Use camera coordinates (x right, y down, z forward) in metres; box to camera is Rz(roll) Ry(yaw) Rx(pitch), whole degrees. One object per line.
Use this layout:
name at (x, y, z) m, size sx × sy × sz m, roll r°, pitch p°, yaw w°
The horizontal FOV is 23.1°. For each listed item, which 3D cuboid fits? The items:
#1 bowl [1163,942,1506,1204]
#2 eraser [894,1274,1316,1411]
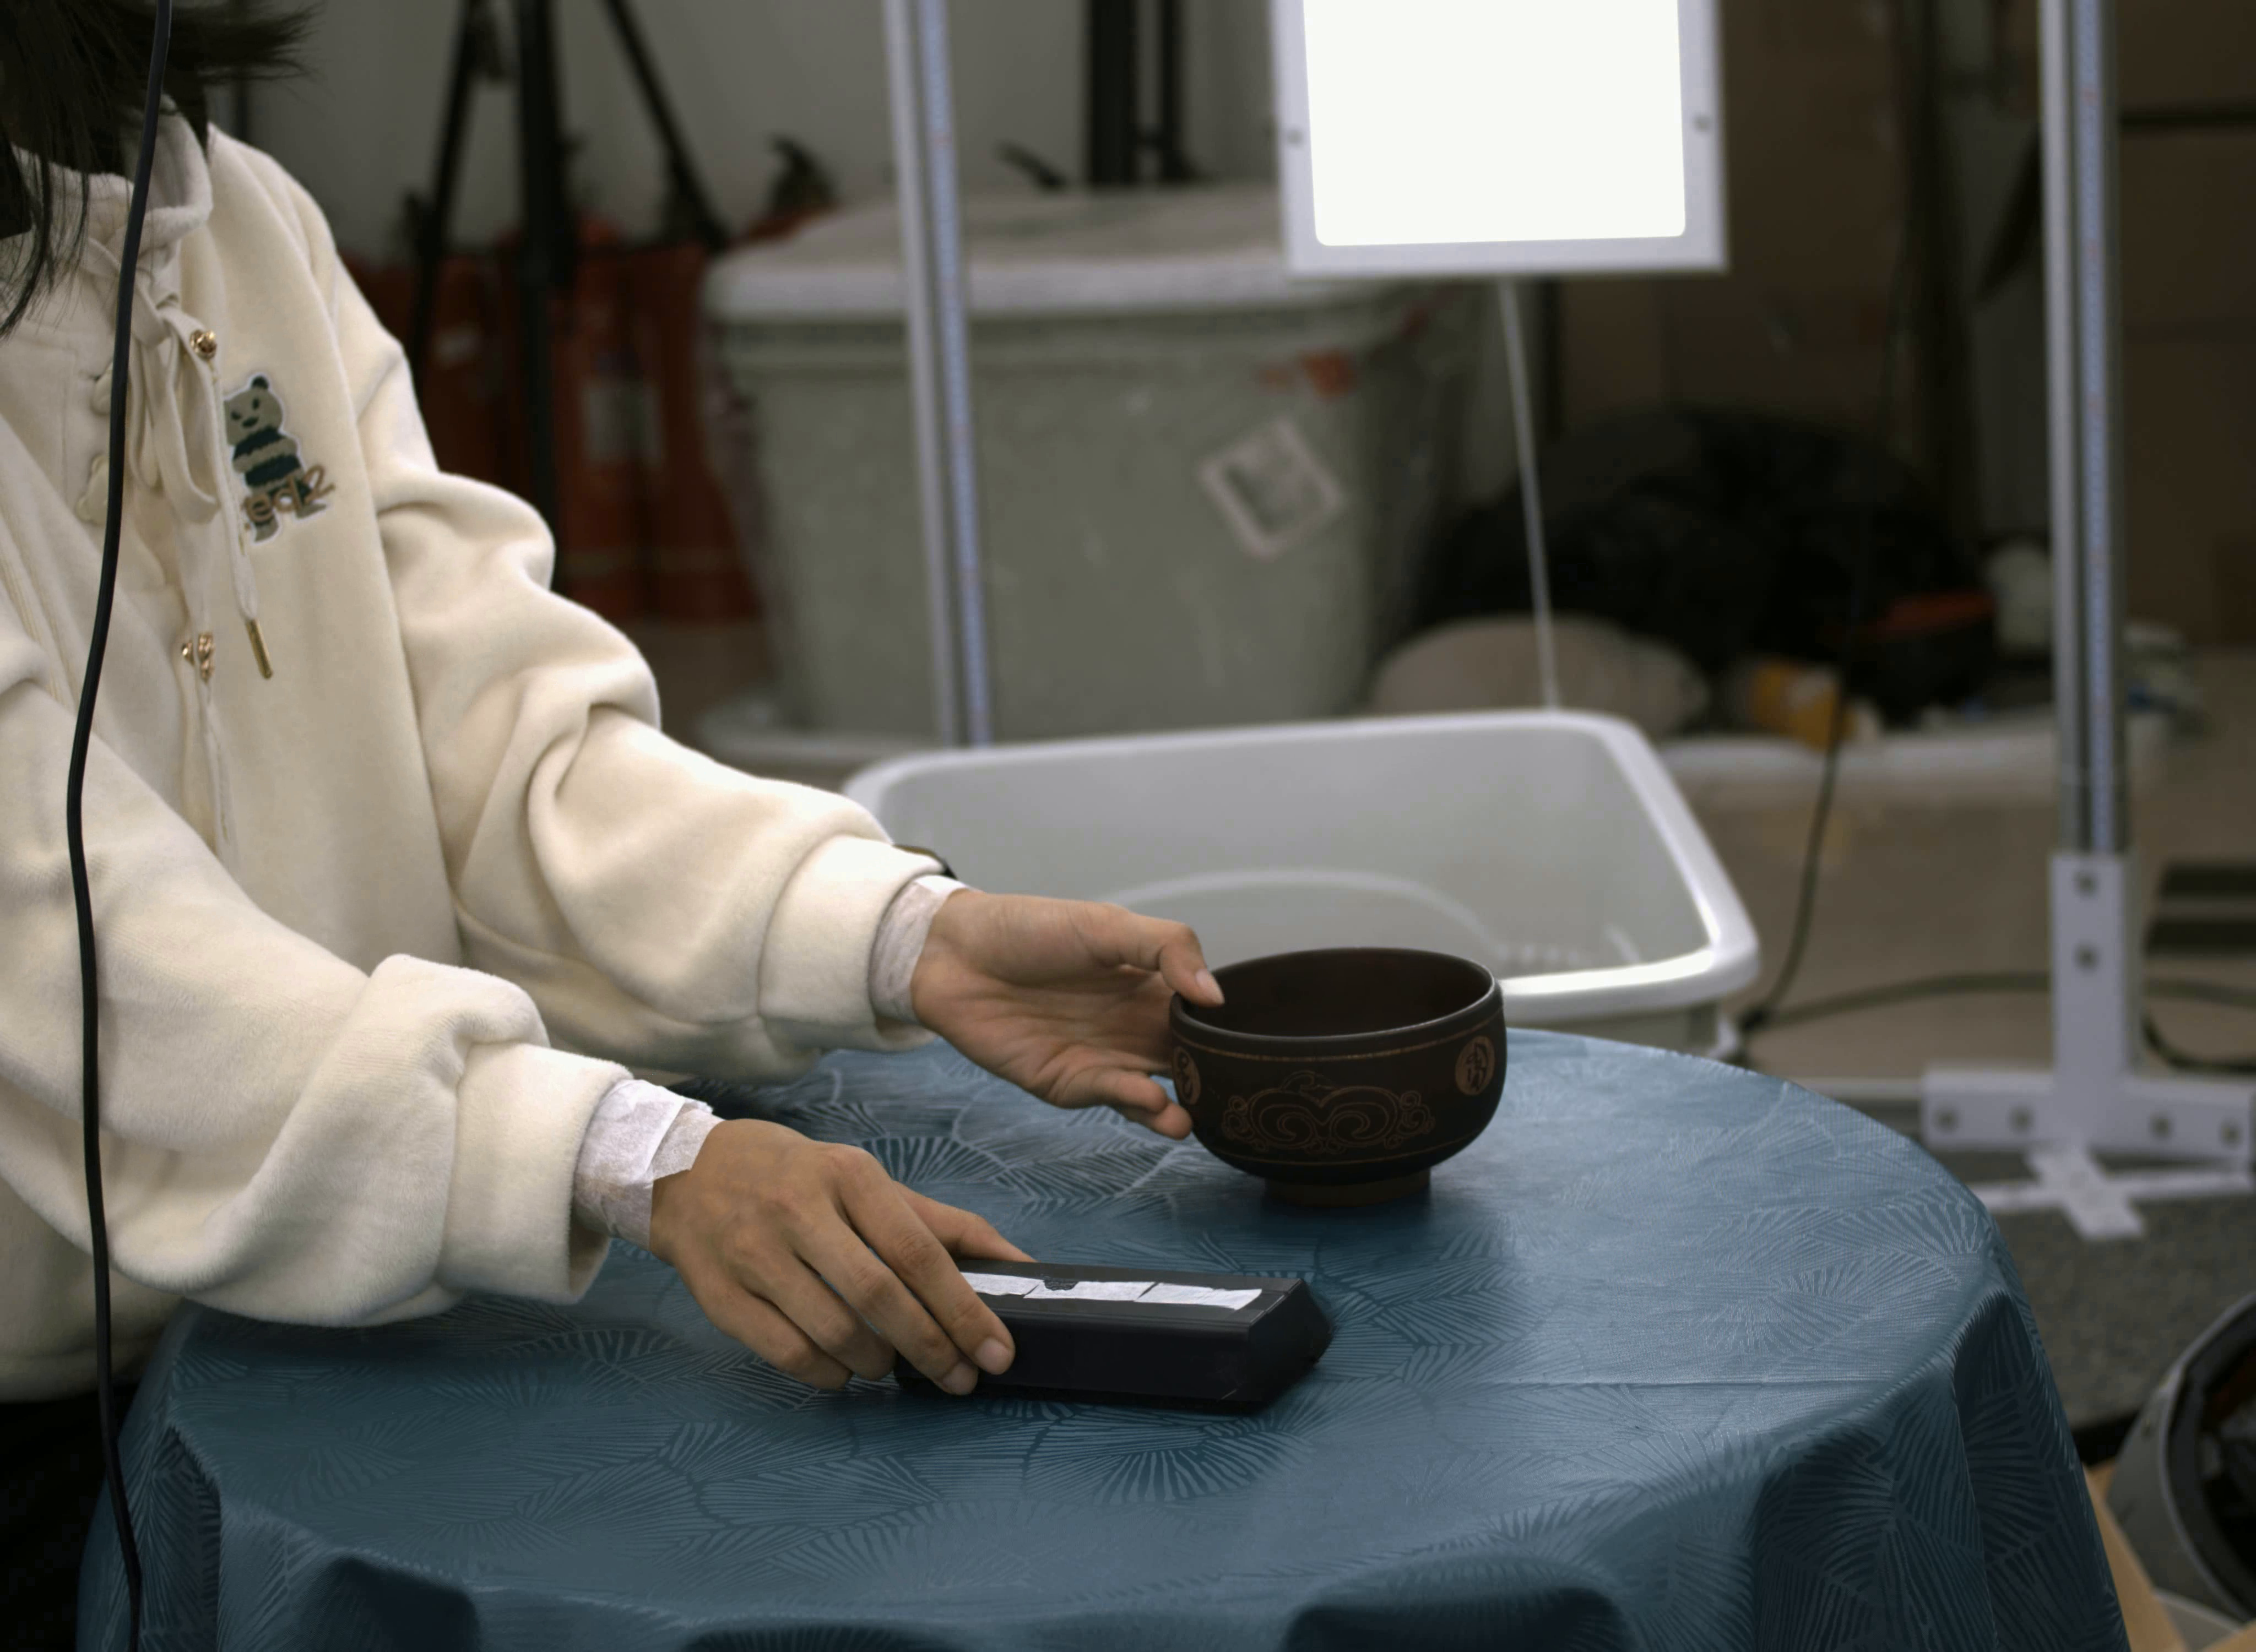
bowl at (0.072, 0.088, 1.878) m, size 0.118 × 0.070 × 0.118 m, roll -6°, pitch 14°, yaw 0°
eraser at (-0.006, 0.160, 1.711) m, size 0.127 × 0.030 × 0.052 m, roll -1°, pitch 13°, yaw 26°
